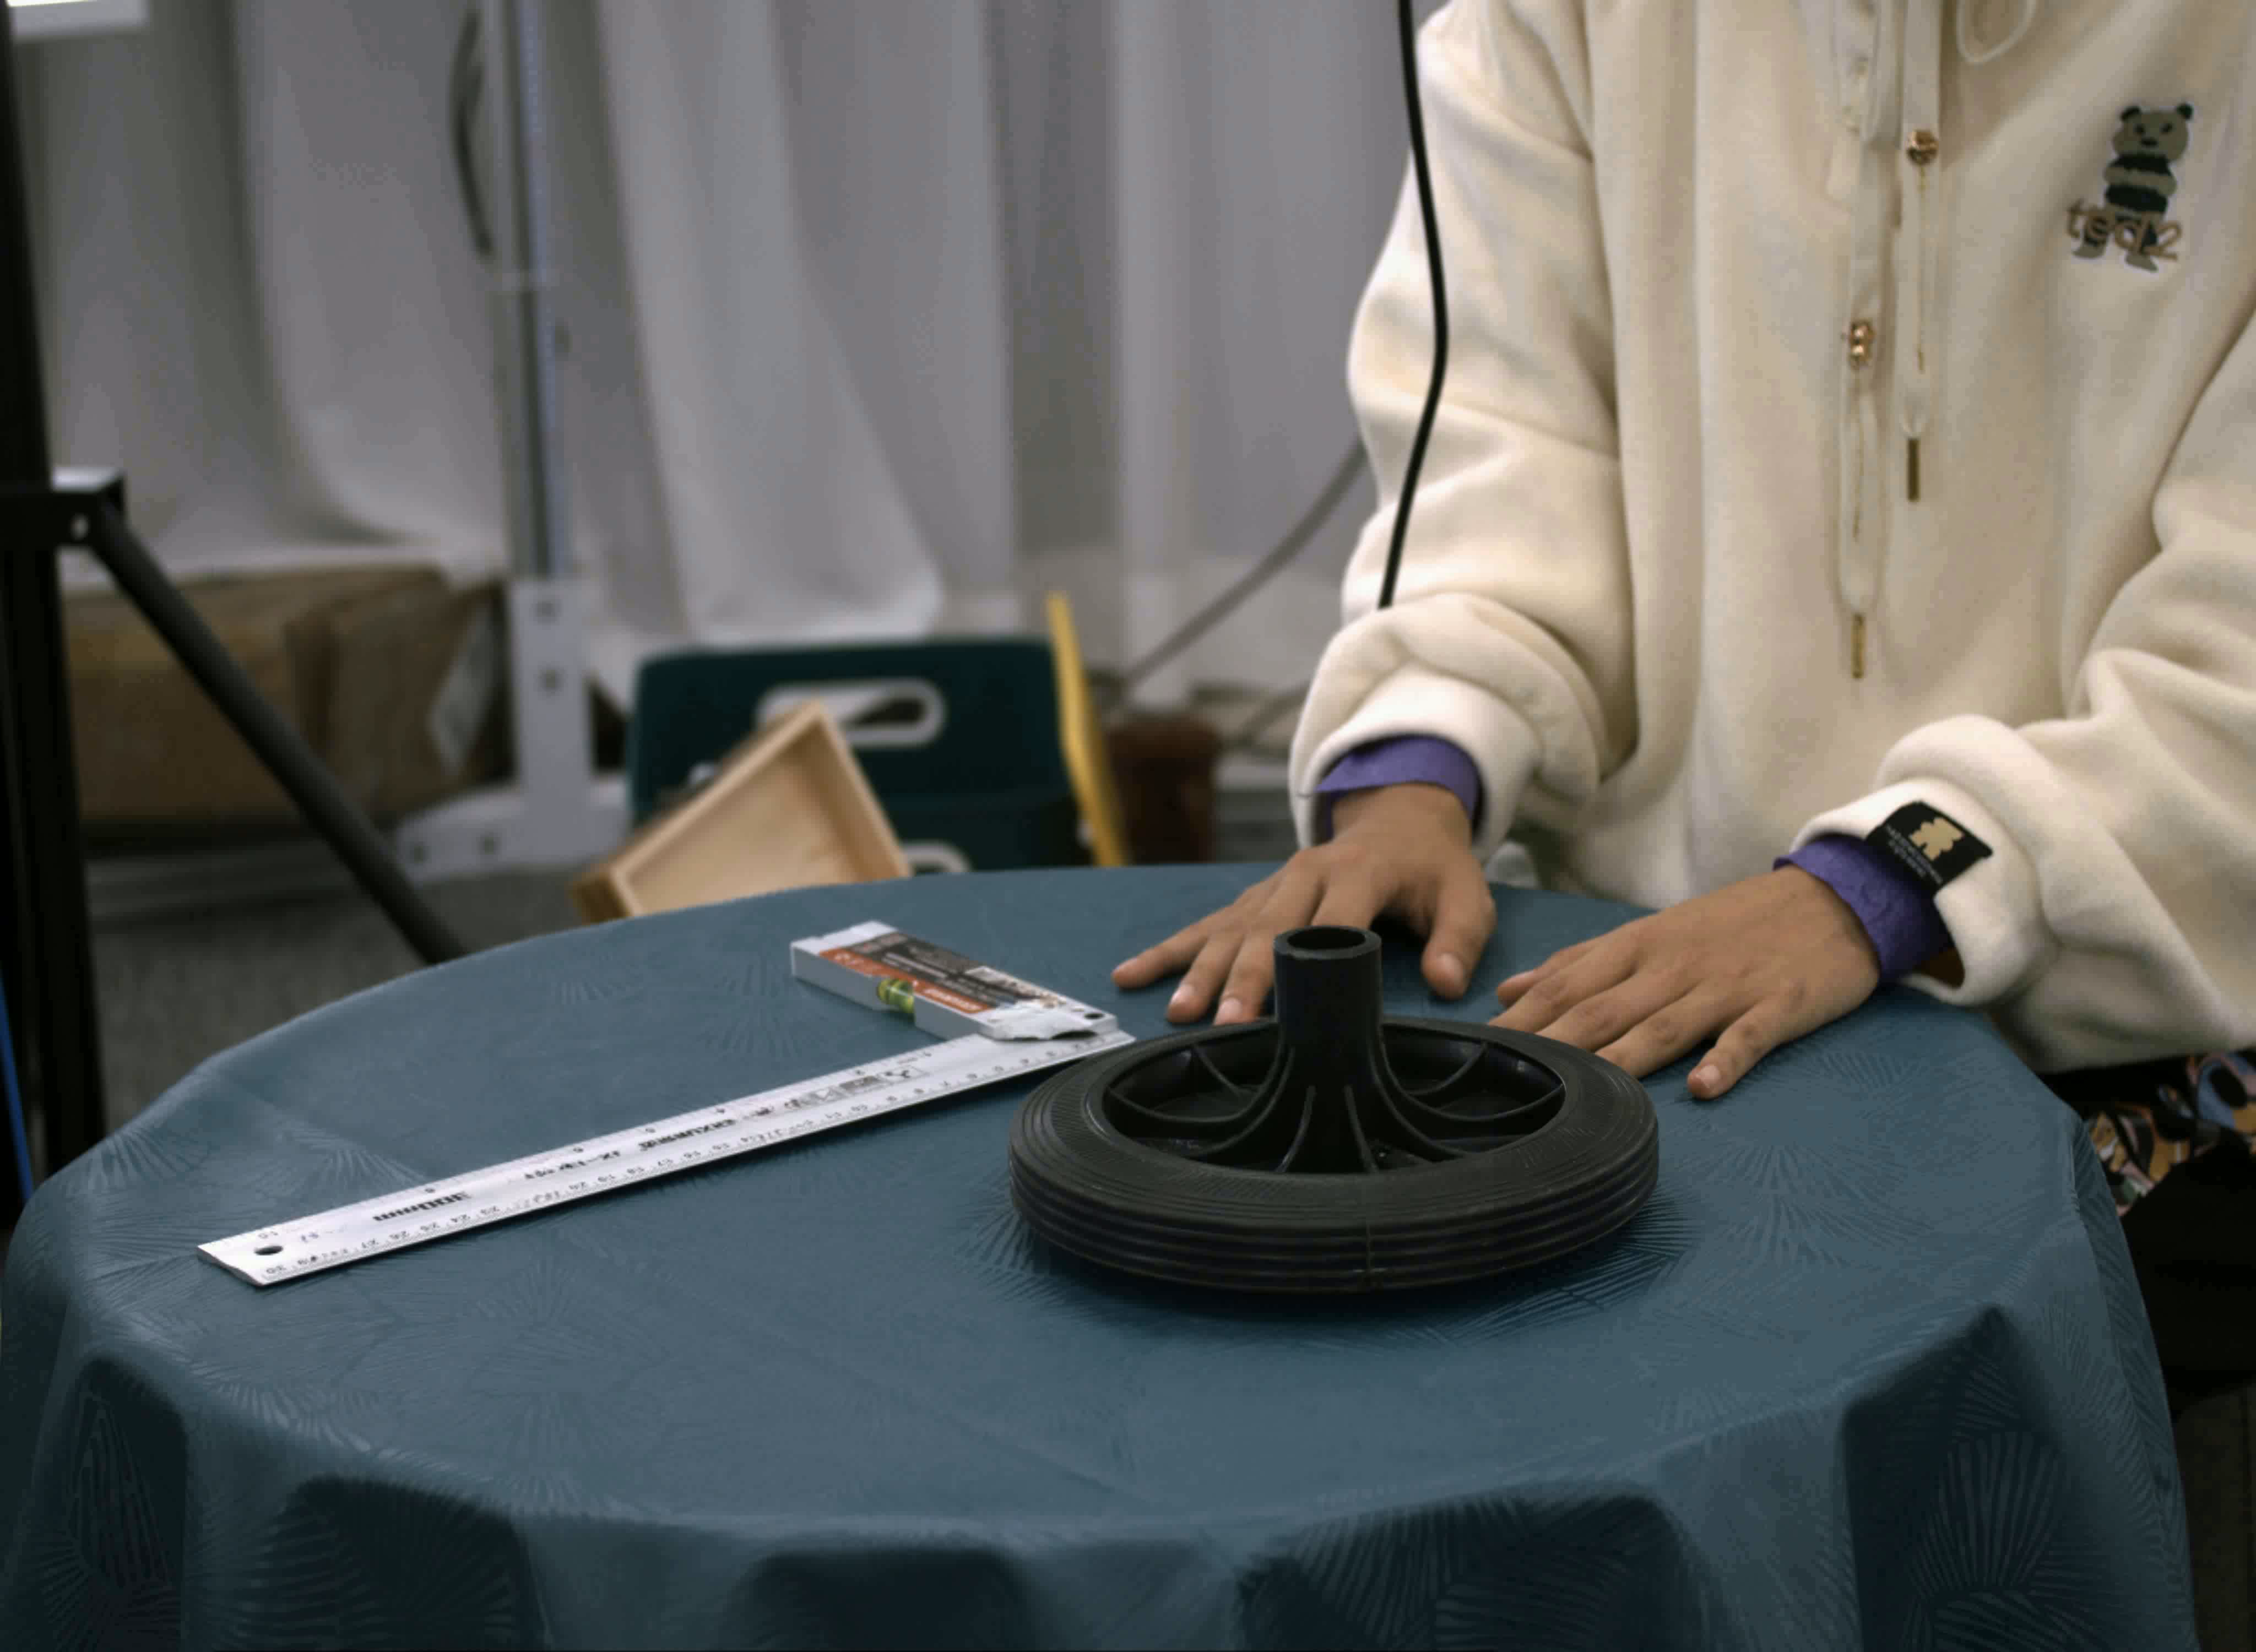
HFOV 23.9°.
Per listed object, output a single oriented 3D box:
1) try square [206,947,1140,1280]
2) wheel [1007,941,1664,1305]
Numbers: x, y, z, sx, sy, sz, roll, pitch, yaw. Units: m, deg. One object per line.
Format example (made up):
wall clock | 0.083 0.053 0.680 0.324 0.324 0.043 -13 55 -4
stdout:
try square | -0.162 0.087 1.655 0.306 0.016 0.155 -14 16 -32
wheel | 0.059 0.075 1.523 0.193 0.079 0.184 8 19 33
